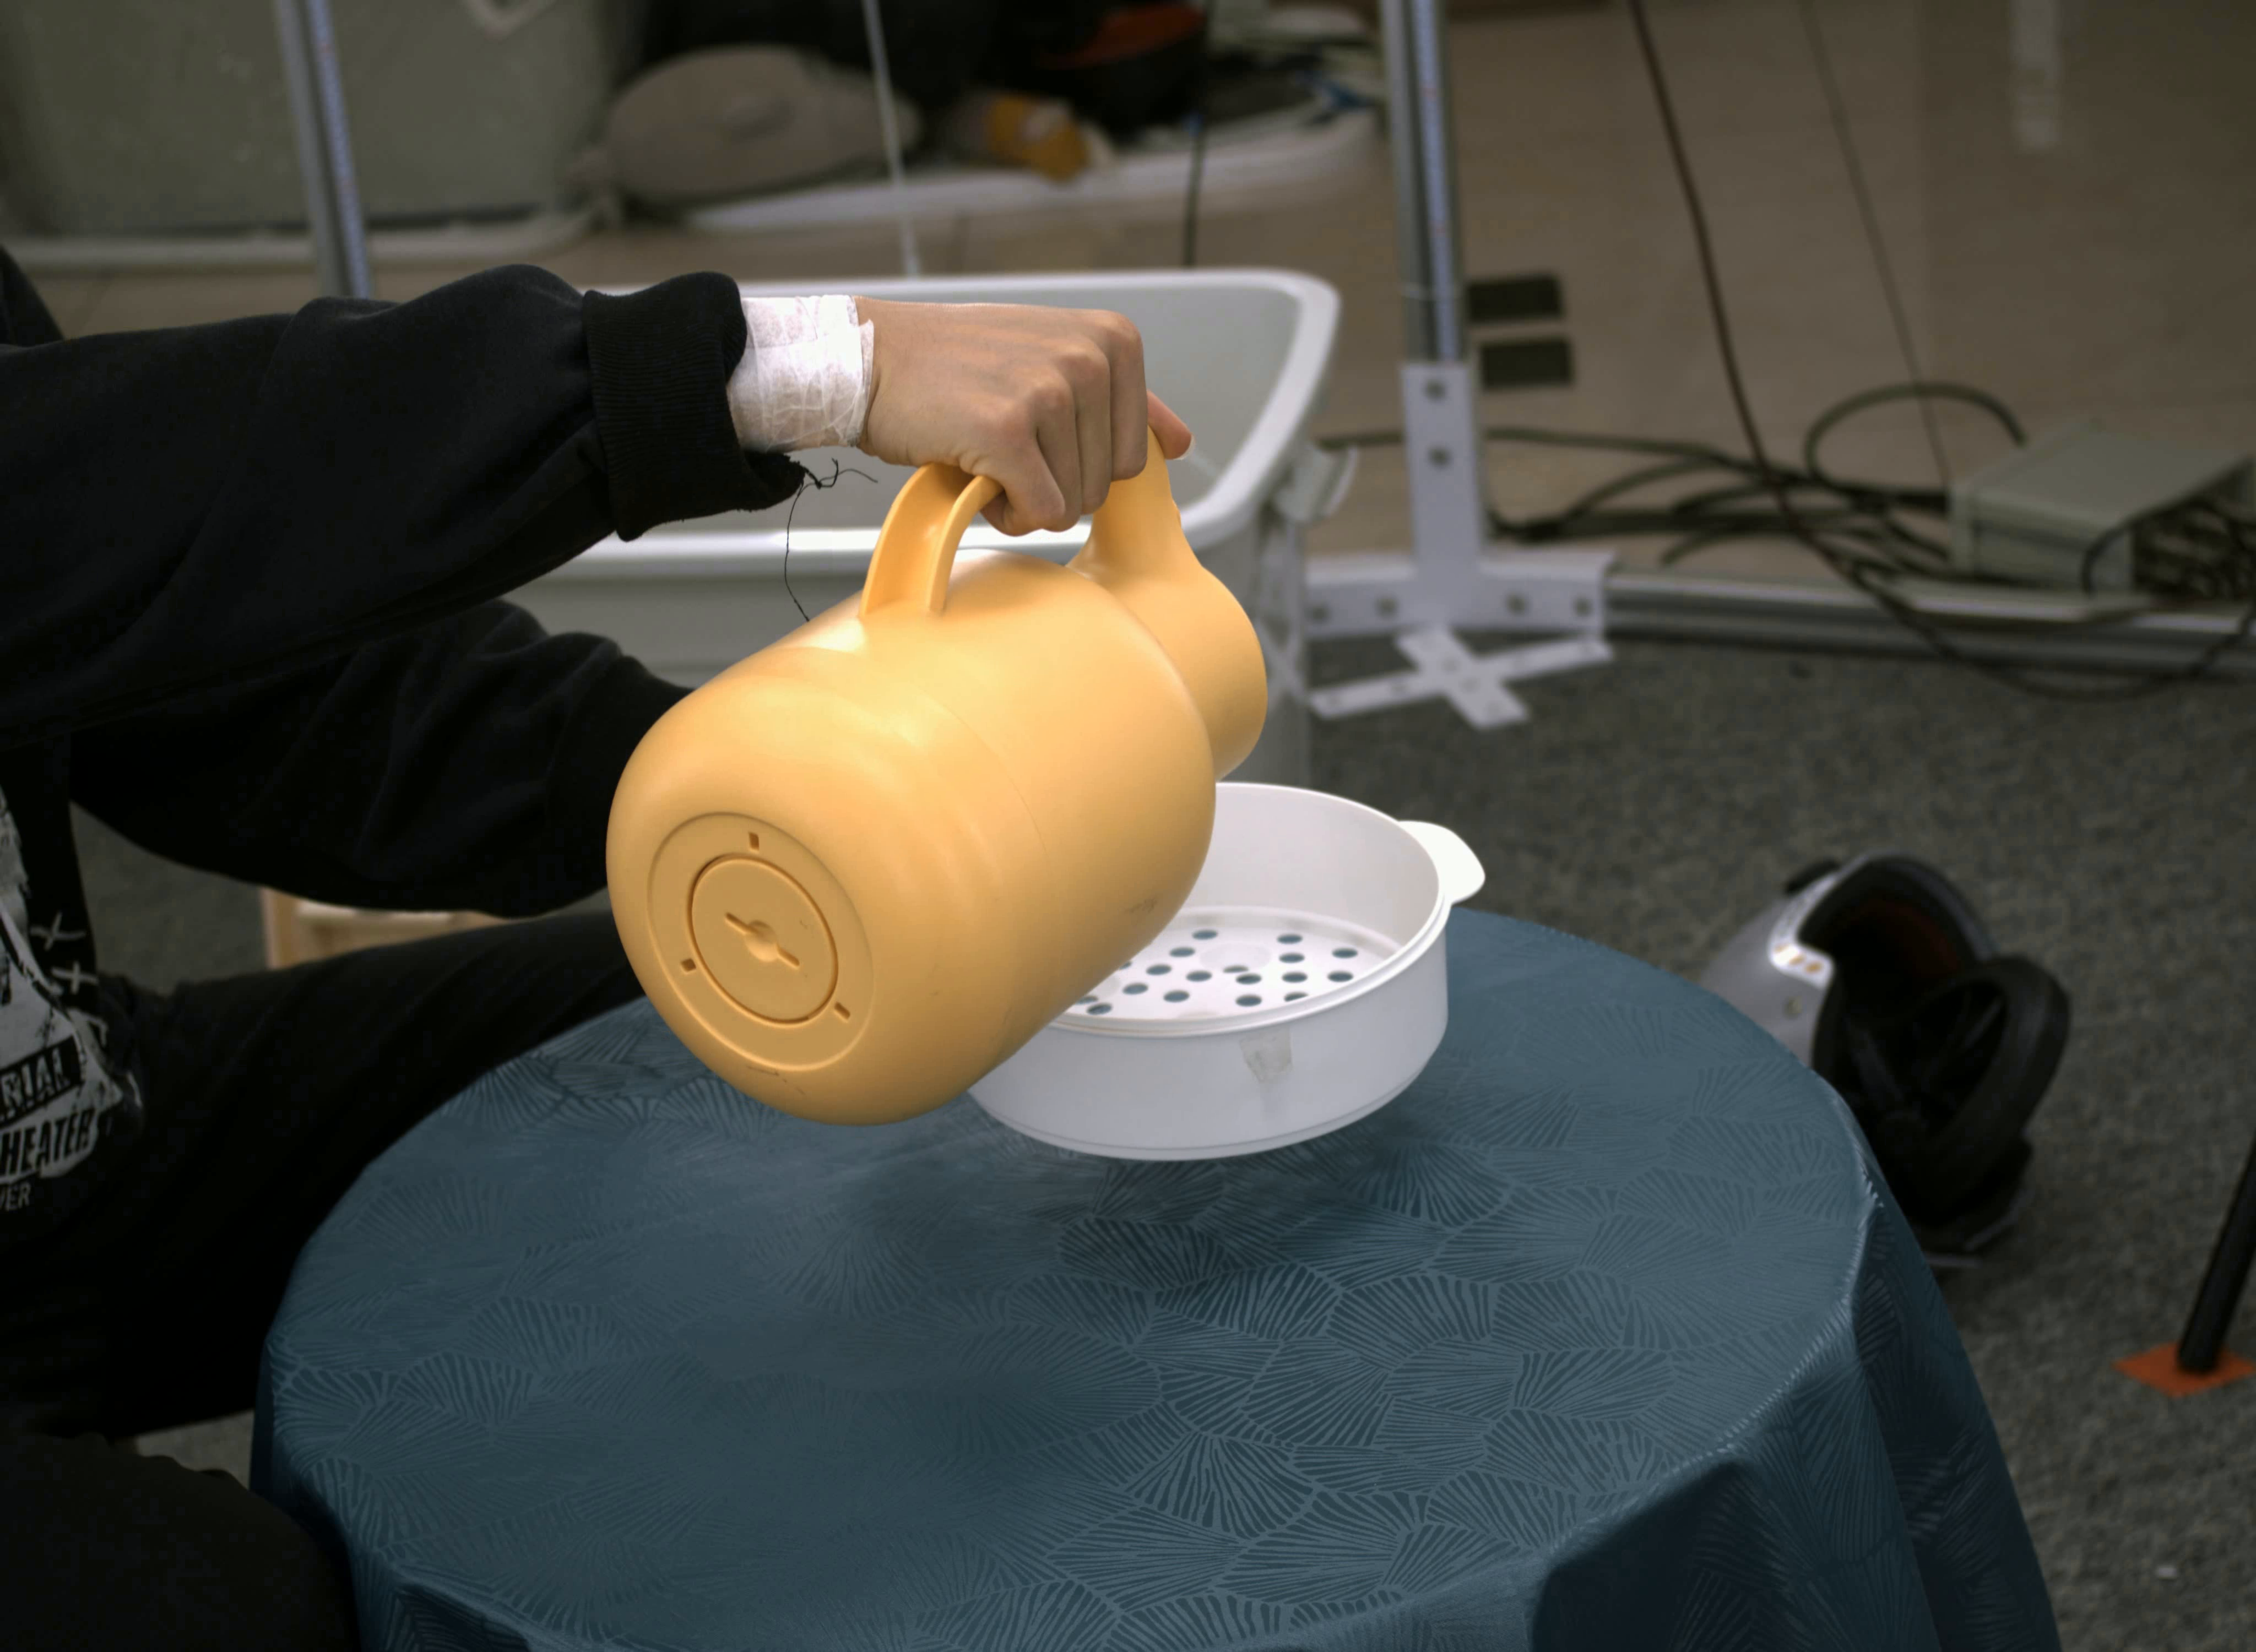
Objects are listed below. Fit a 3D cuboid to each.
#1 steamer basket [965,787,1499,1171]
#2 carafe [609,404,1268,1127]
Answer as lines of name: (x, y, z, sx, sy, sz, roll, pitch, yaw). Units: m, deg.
steamer basket: (0.030, 0.058, 2.161, 0.230, 0.070, 0.199, -11, 28, -12)
carafe: (-0.055, -0.030, 1.966, 0.162, 0.205, 0.257, 10, 29, 31)
